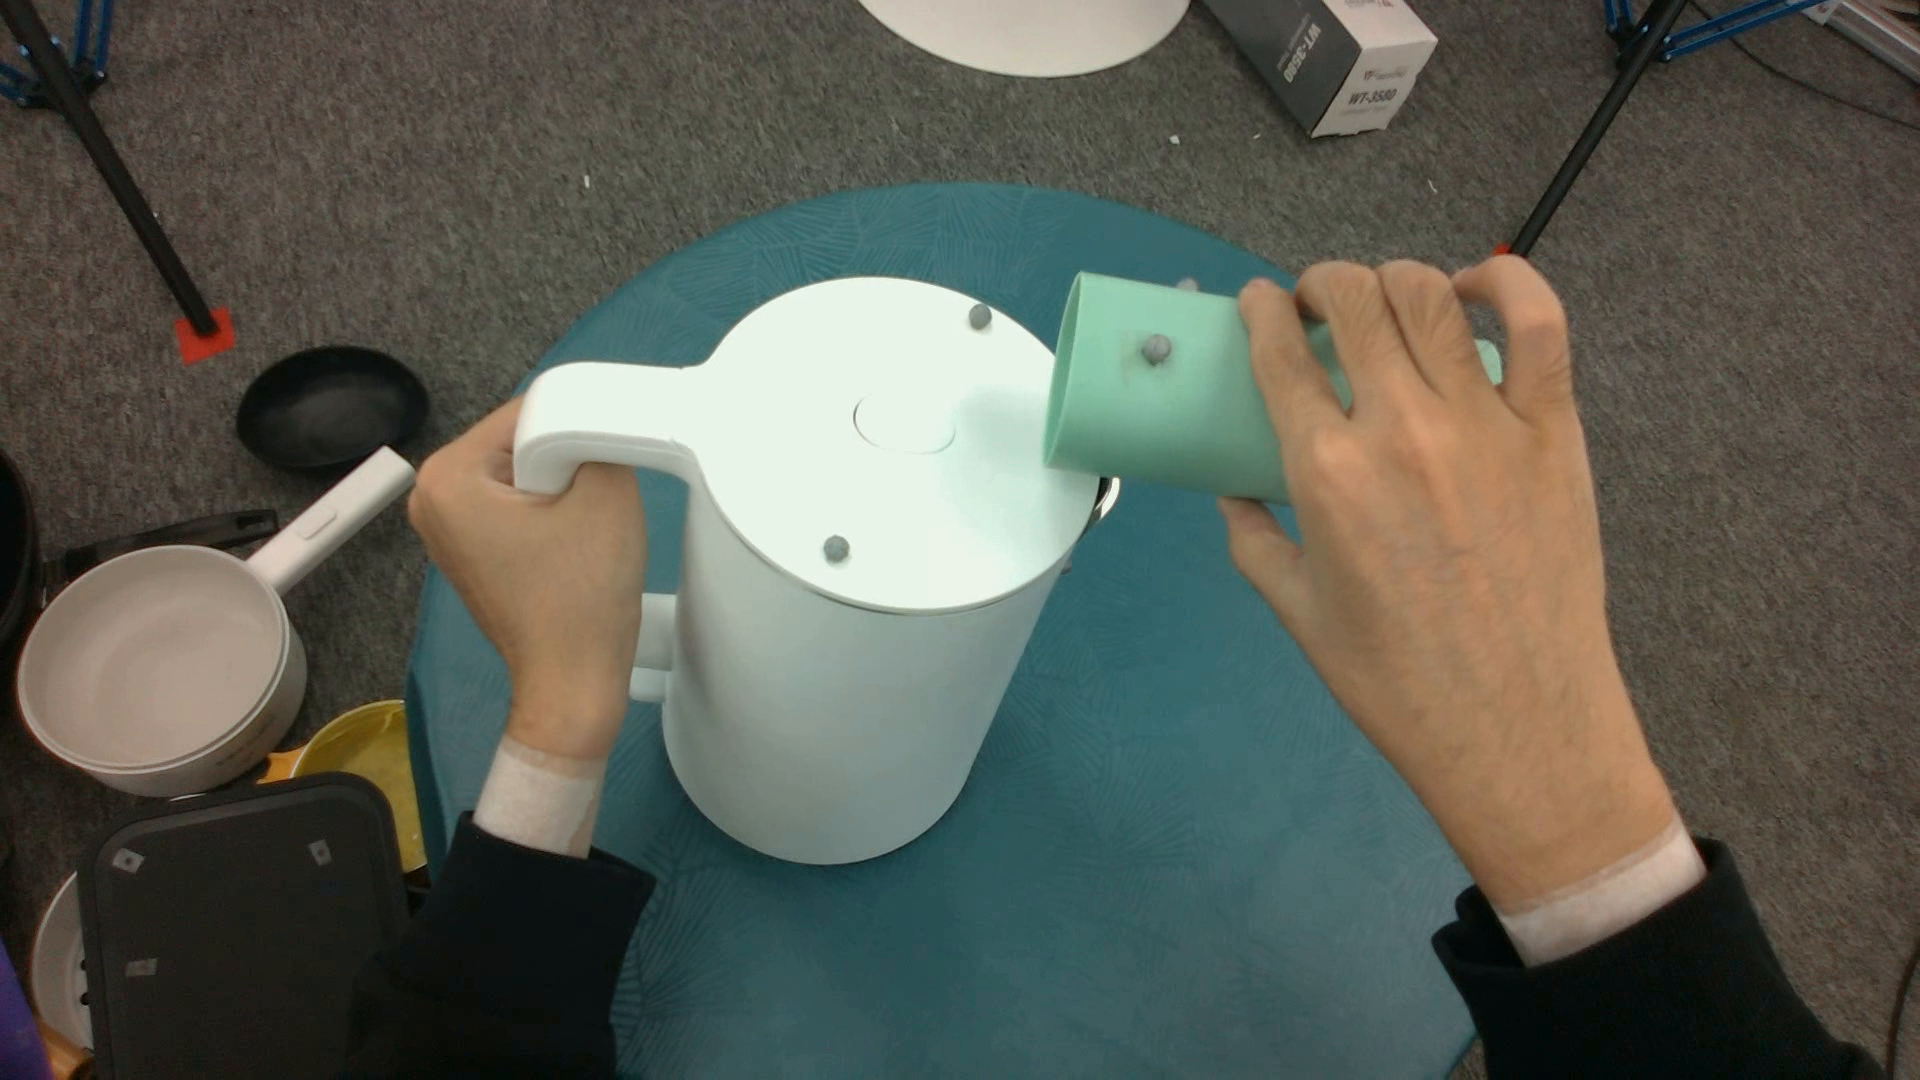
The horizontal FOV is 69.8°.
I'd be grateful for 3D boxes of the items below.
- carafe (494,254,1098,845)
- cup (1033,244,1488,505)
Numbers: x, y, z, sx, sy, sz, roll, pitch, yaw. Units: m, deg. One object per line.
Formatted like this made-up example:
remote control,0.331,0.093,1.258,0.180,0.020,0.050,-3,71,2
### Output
carafe,-0.078,0.009,0.565,0.213,0.239,0.153,8,55,-12
cup,0.094,-0.051,0.447,0.132,0.066,0.067,10,59,-4
